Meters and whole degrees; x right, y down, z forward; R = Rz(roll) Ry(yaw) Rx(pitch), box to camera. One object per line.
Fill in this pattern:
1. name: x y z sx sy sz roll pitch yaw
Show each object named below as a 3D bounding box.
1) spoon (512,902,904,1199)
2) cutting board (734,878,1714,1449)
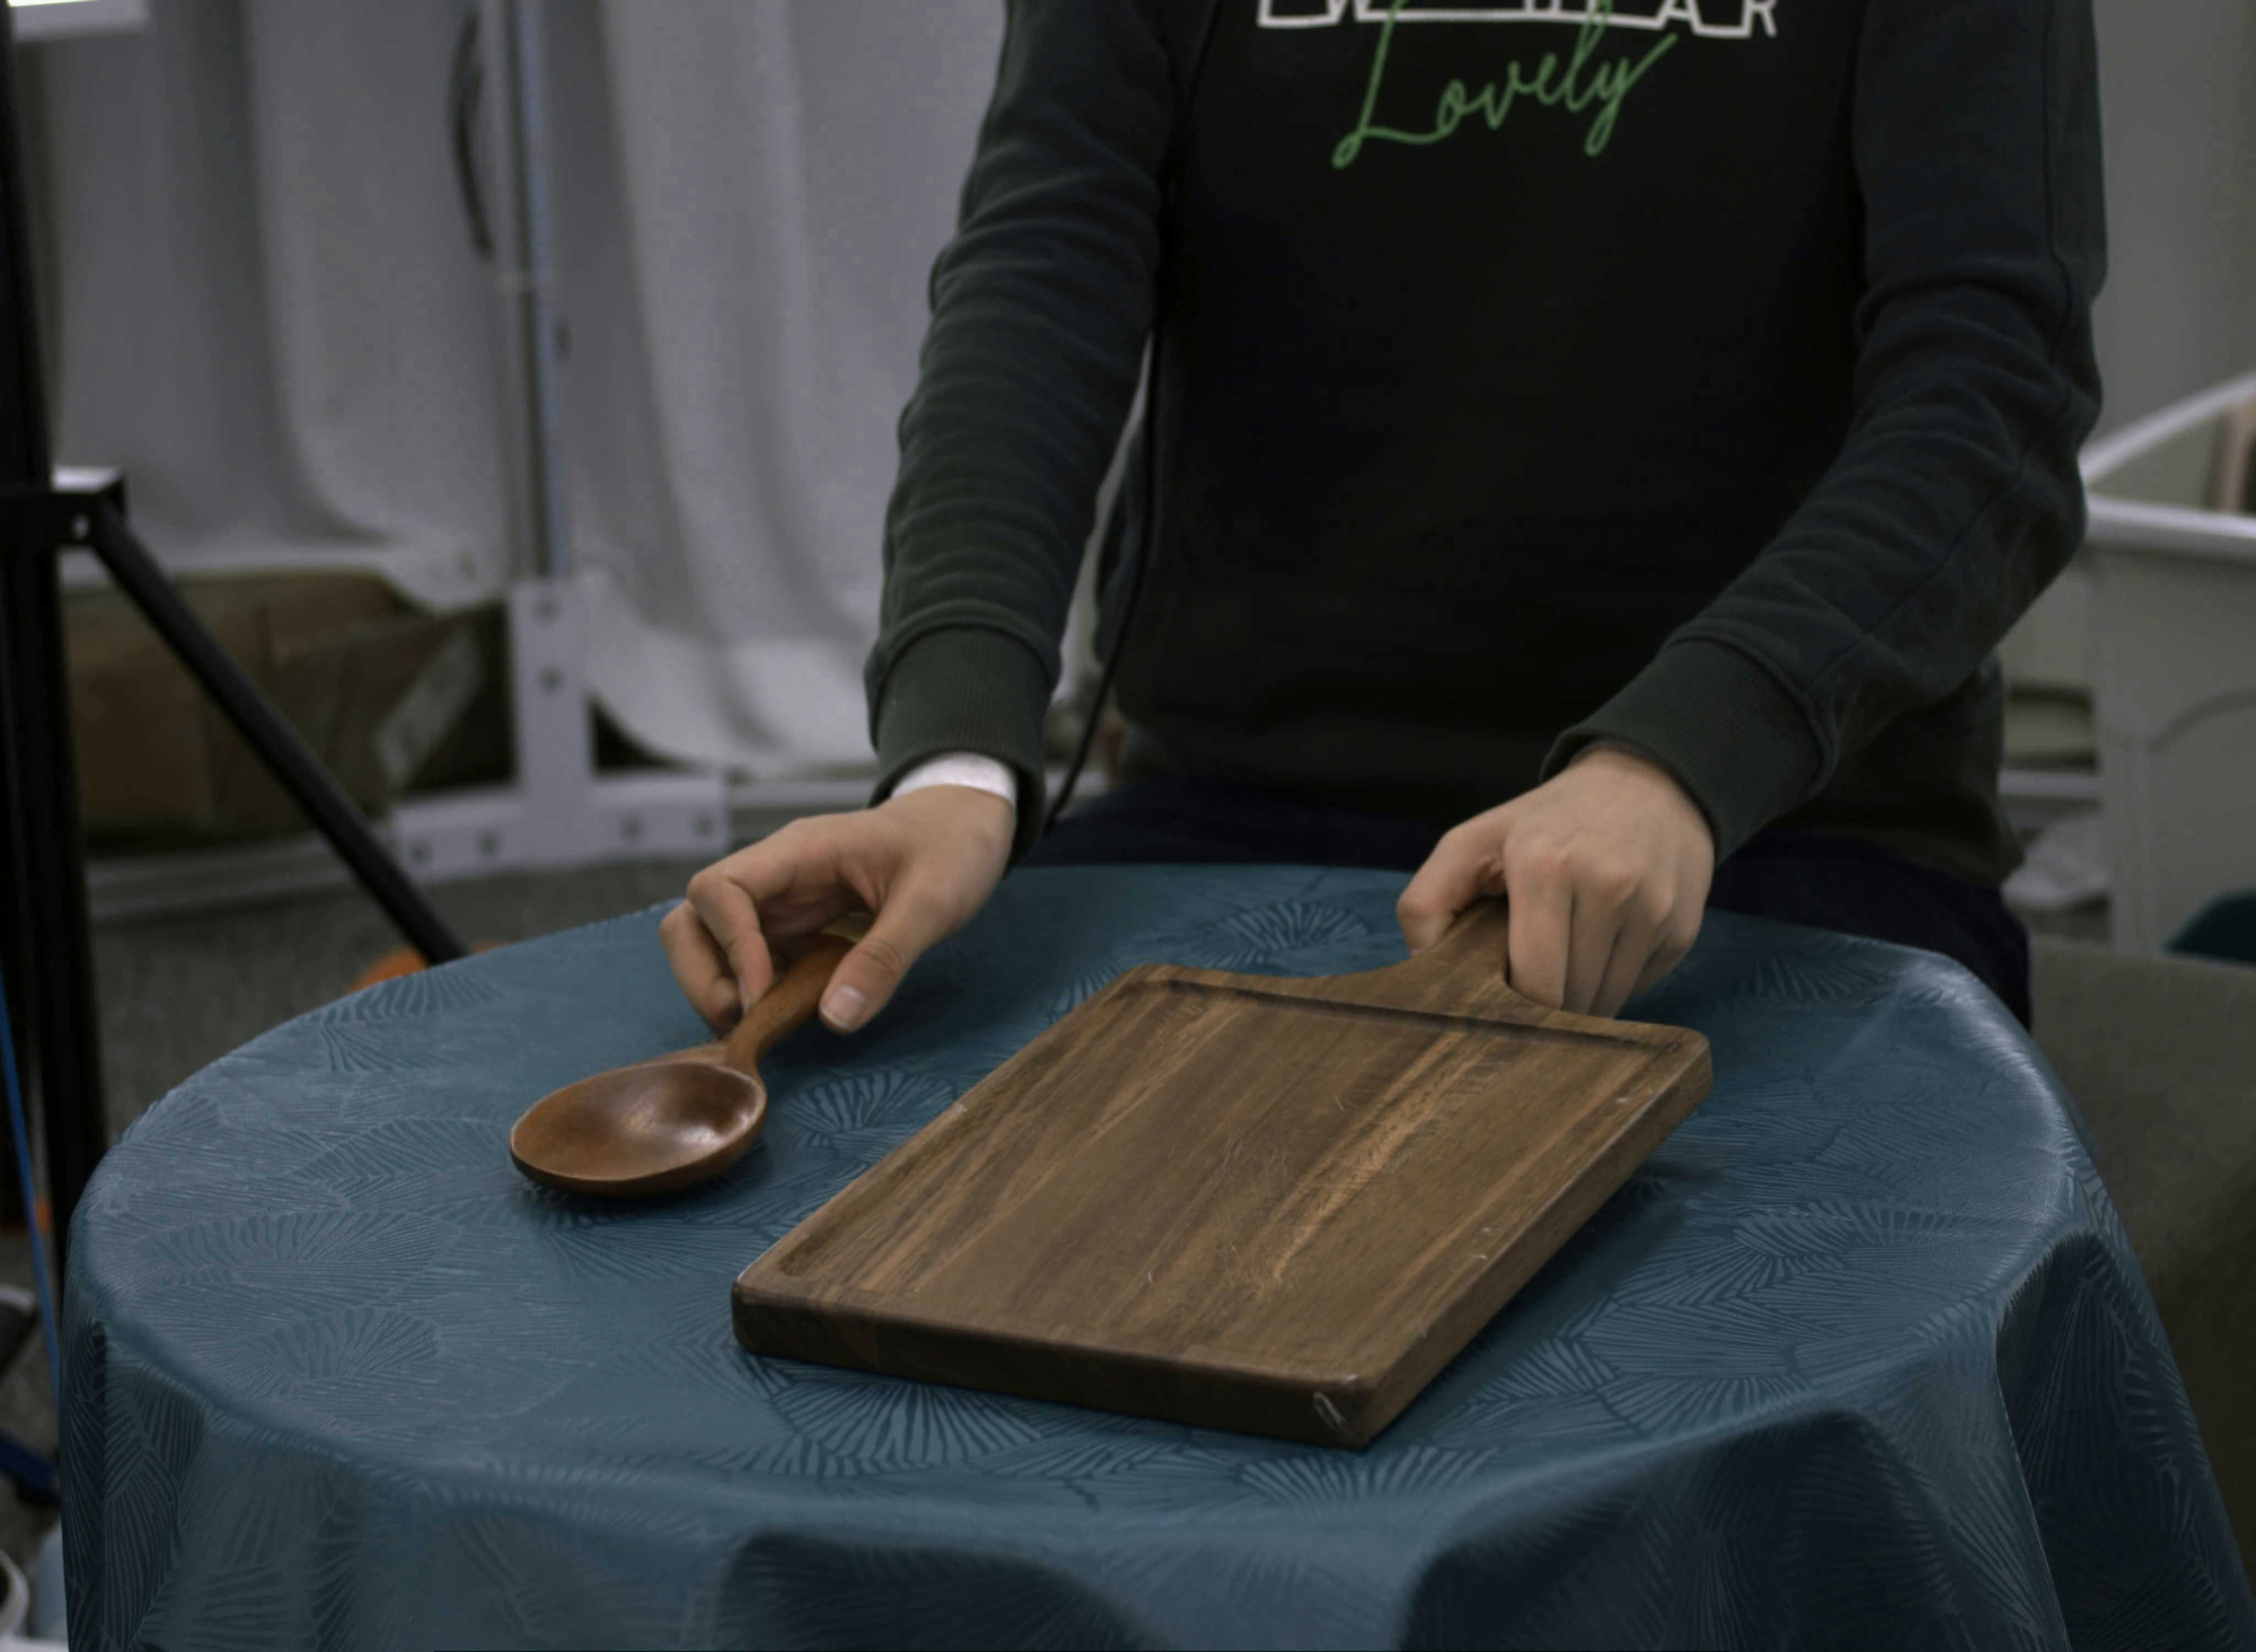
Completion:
1. spoon: -0.120 0.071 1.651 0.076 0.017 0.213 2 23 23
2. cutting board: 0.055 0.086 1.540 0.204 0.023 0.347 5 22 28
